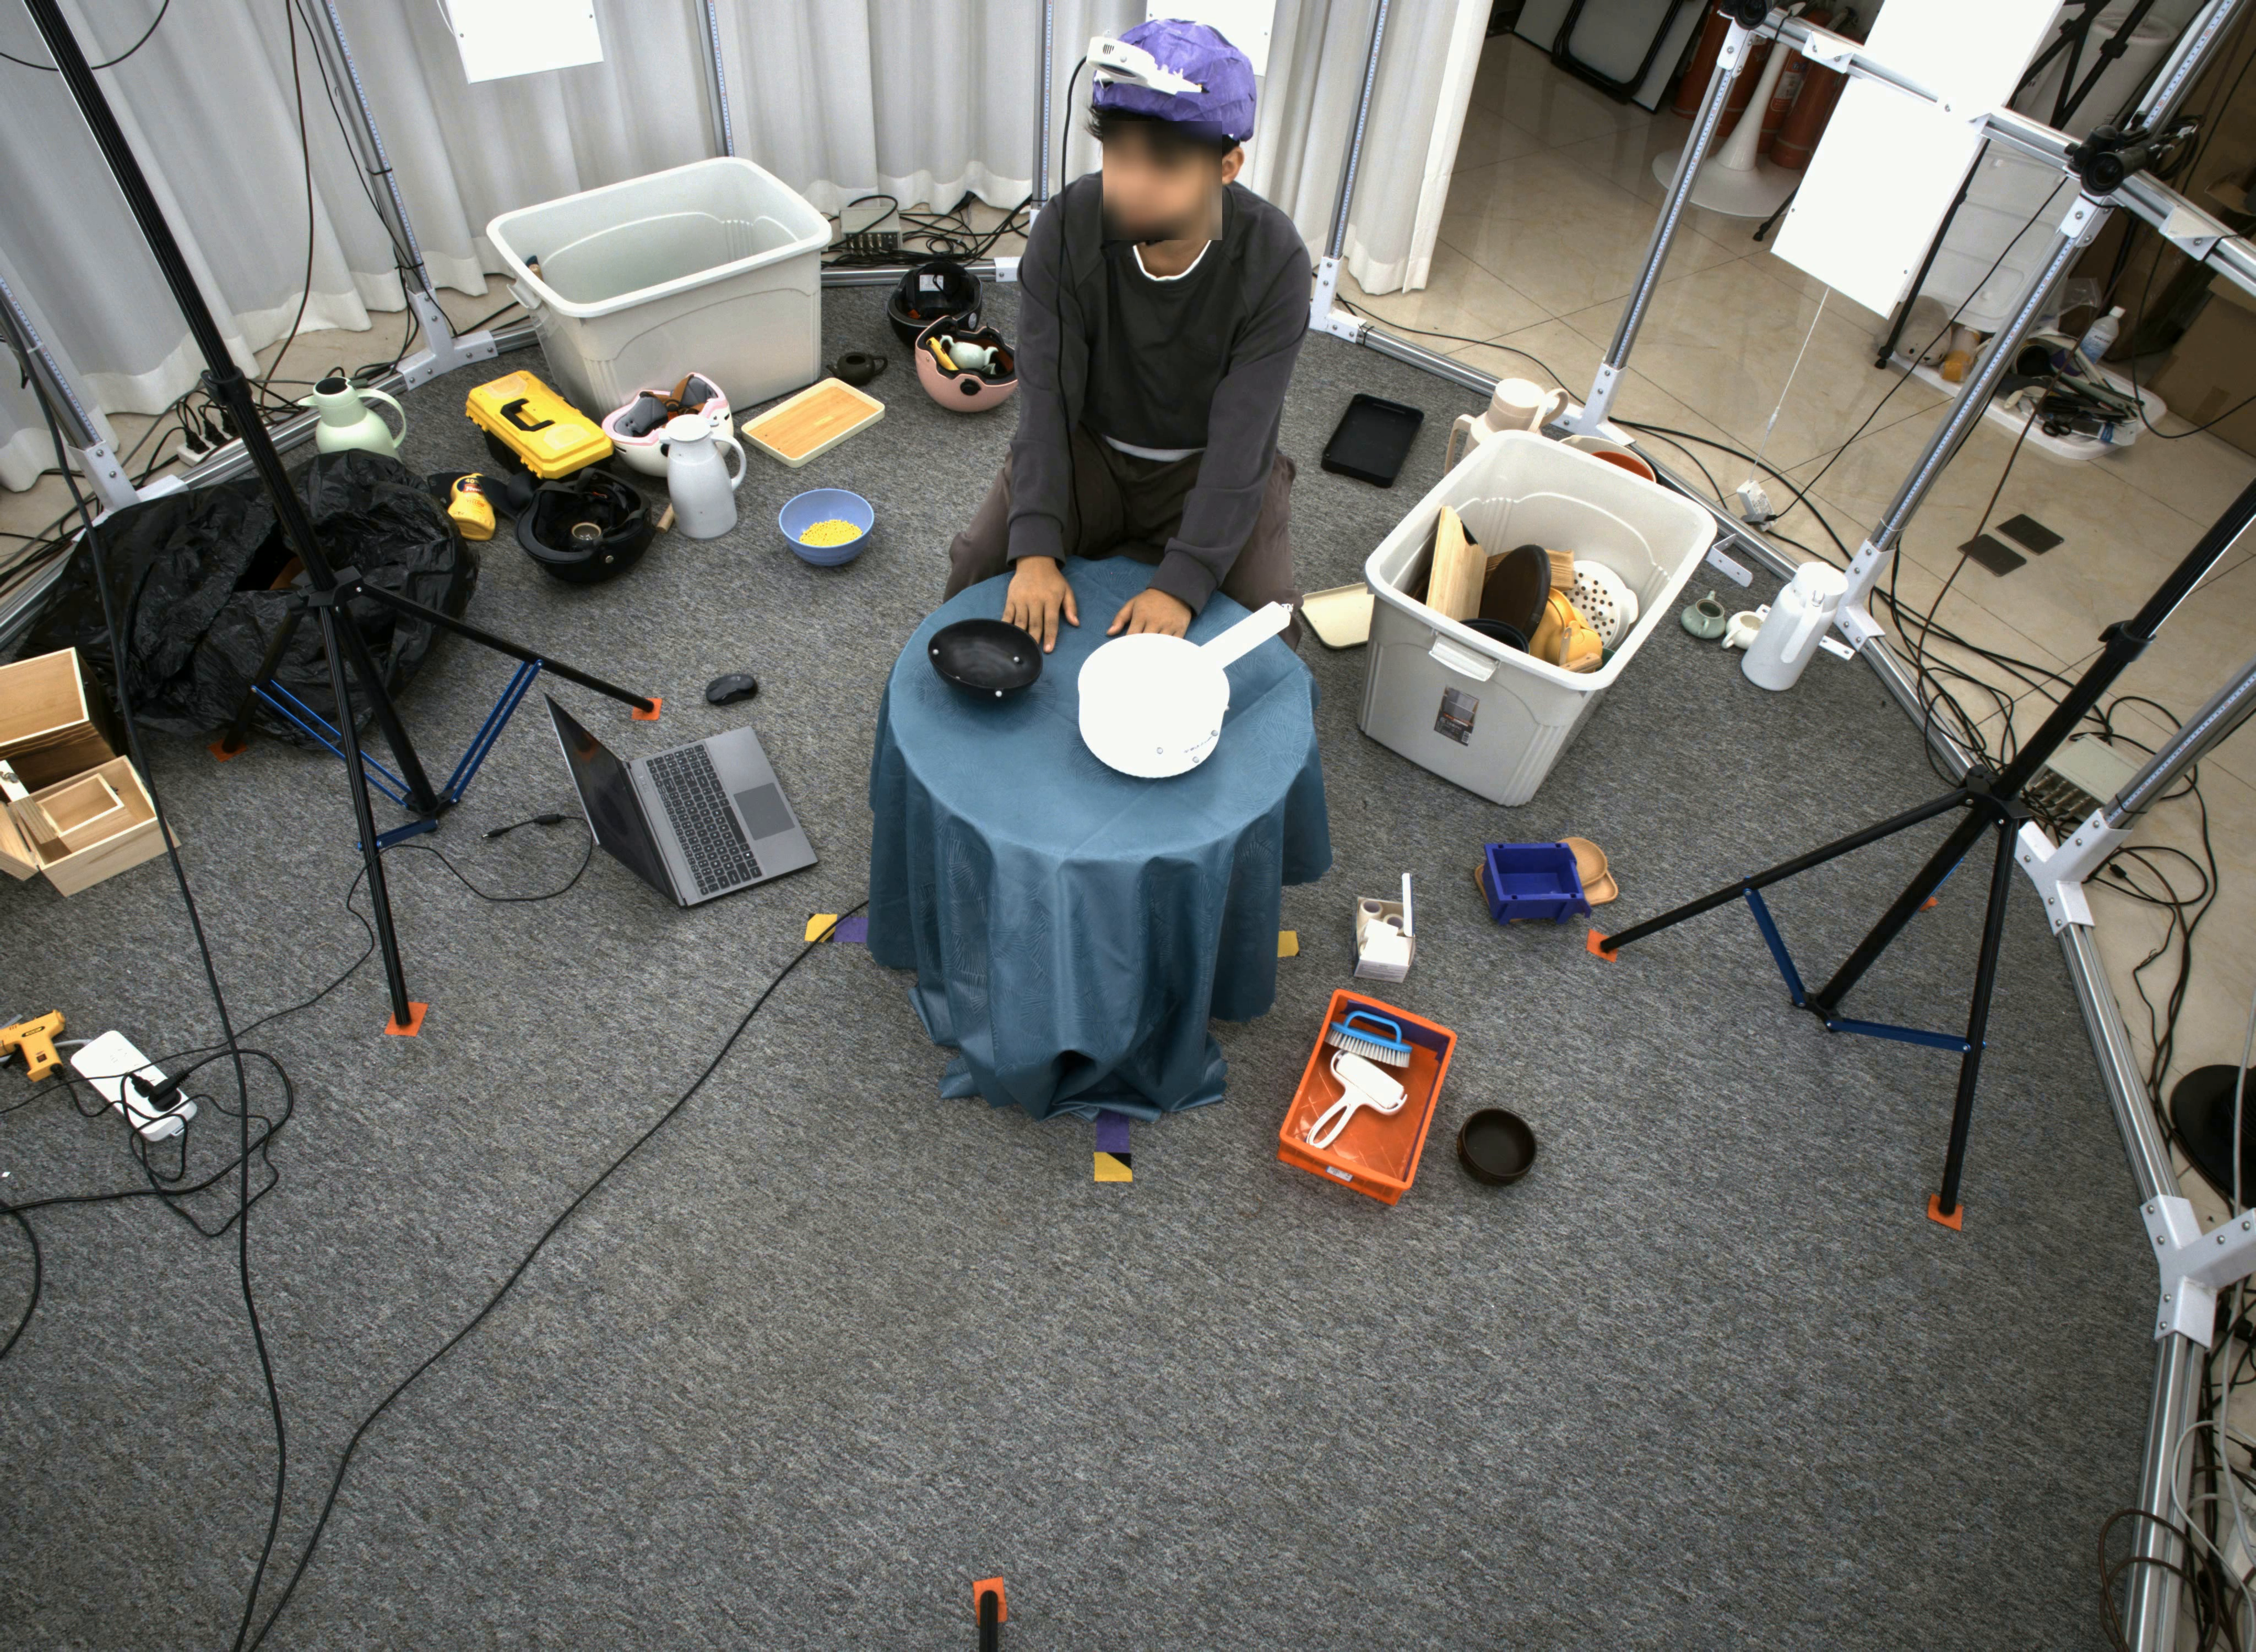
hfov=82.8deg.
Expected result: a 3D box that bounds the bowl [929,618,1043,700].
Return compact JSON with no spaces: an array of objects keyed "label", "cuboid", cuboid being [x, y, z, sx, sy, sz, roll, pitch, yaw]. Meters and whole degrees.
[{"label":"bowl","cuboid":[-0.200,-0.223,1.801,0.171,0.065,0.139,23,51,17]}]

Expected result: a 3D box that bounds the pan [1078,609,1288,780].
[{"label":"pan","cuboid":[0.087,-0.190,1.784,0.358,0.099,0.204,-33,55,-31]}]
